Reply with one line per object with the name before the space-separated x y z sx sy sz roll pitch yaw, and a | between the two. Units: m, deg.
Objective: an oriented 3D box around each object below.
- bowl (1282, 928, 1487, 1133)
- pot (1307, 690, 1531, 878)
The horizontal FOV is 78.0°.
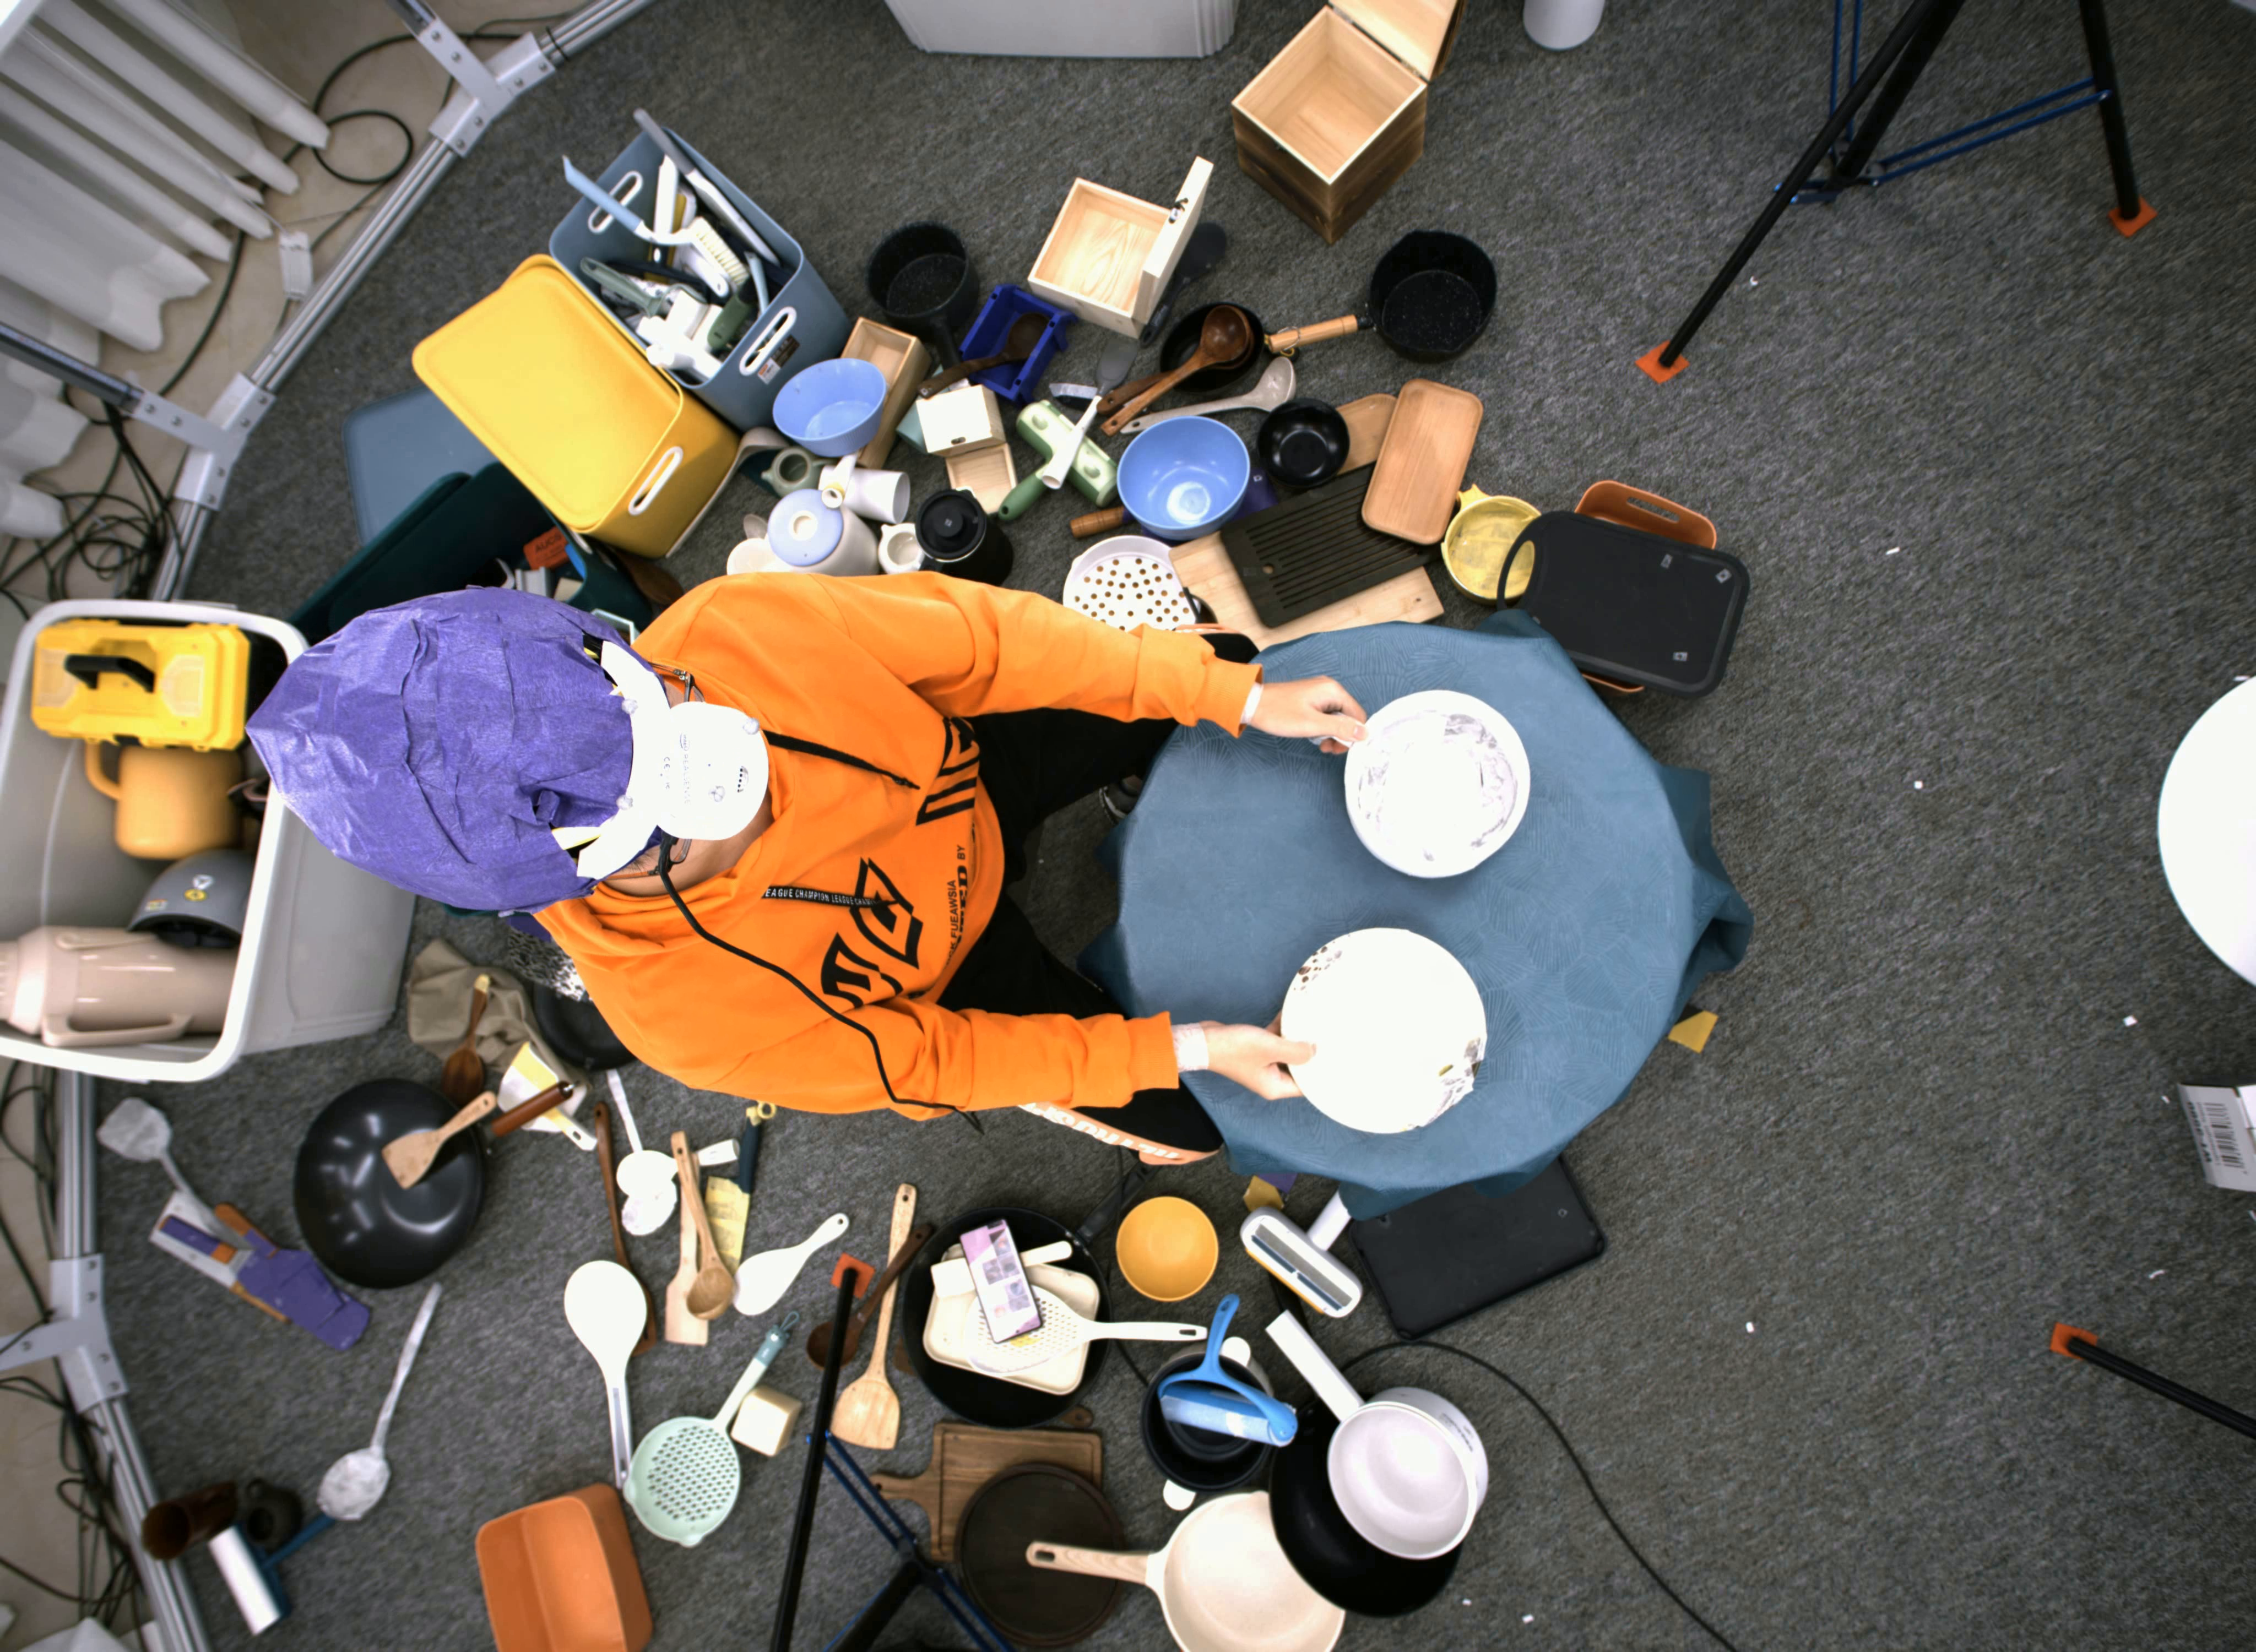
bowl | 0.262 0.206 1.416 0.205 0.078 0.203 -1 86 12
pot | 0.285 -0.053 1.394 0.233 0.137 0.179 30 91 11
